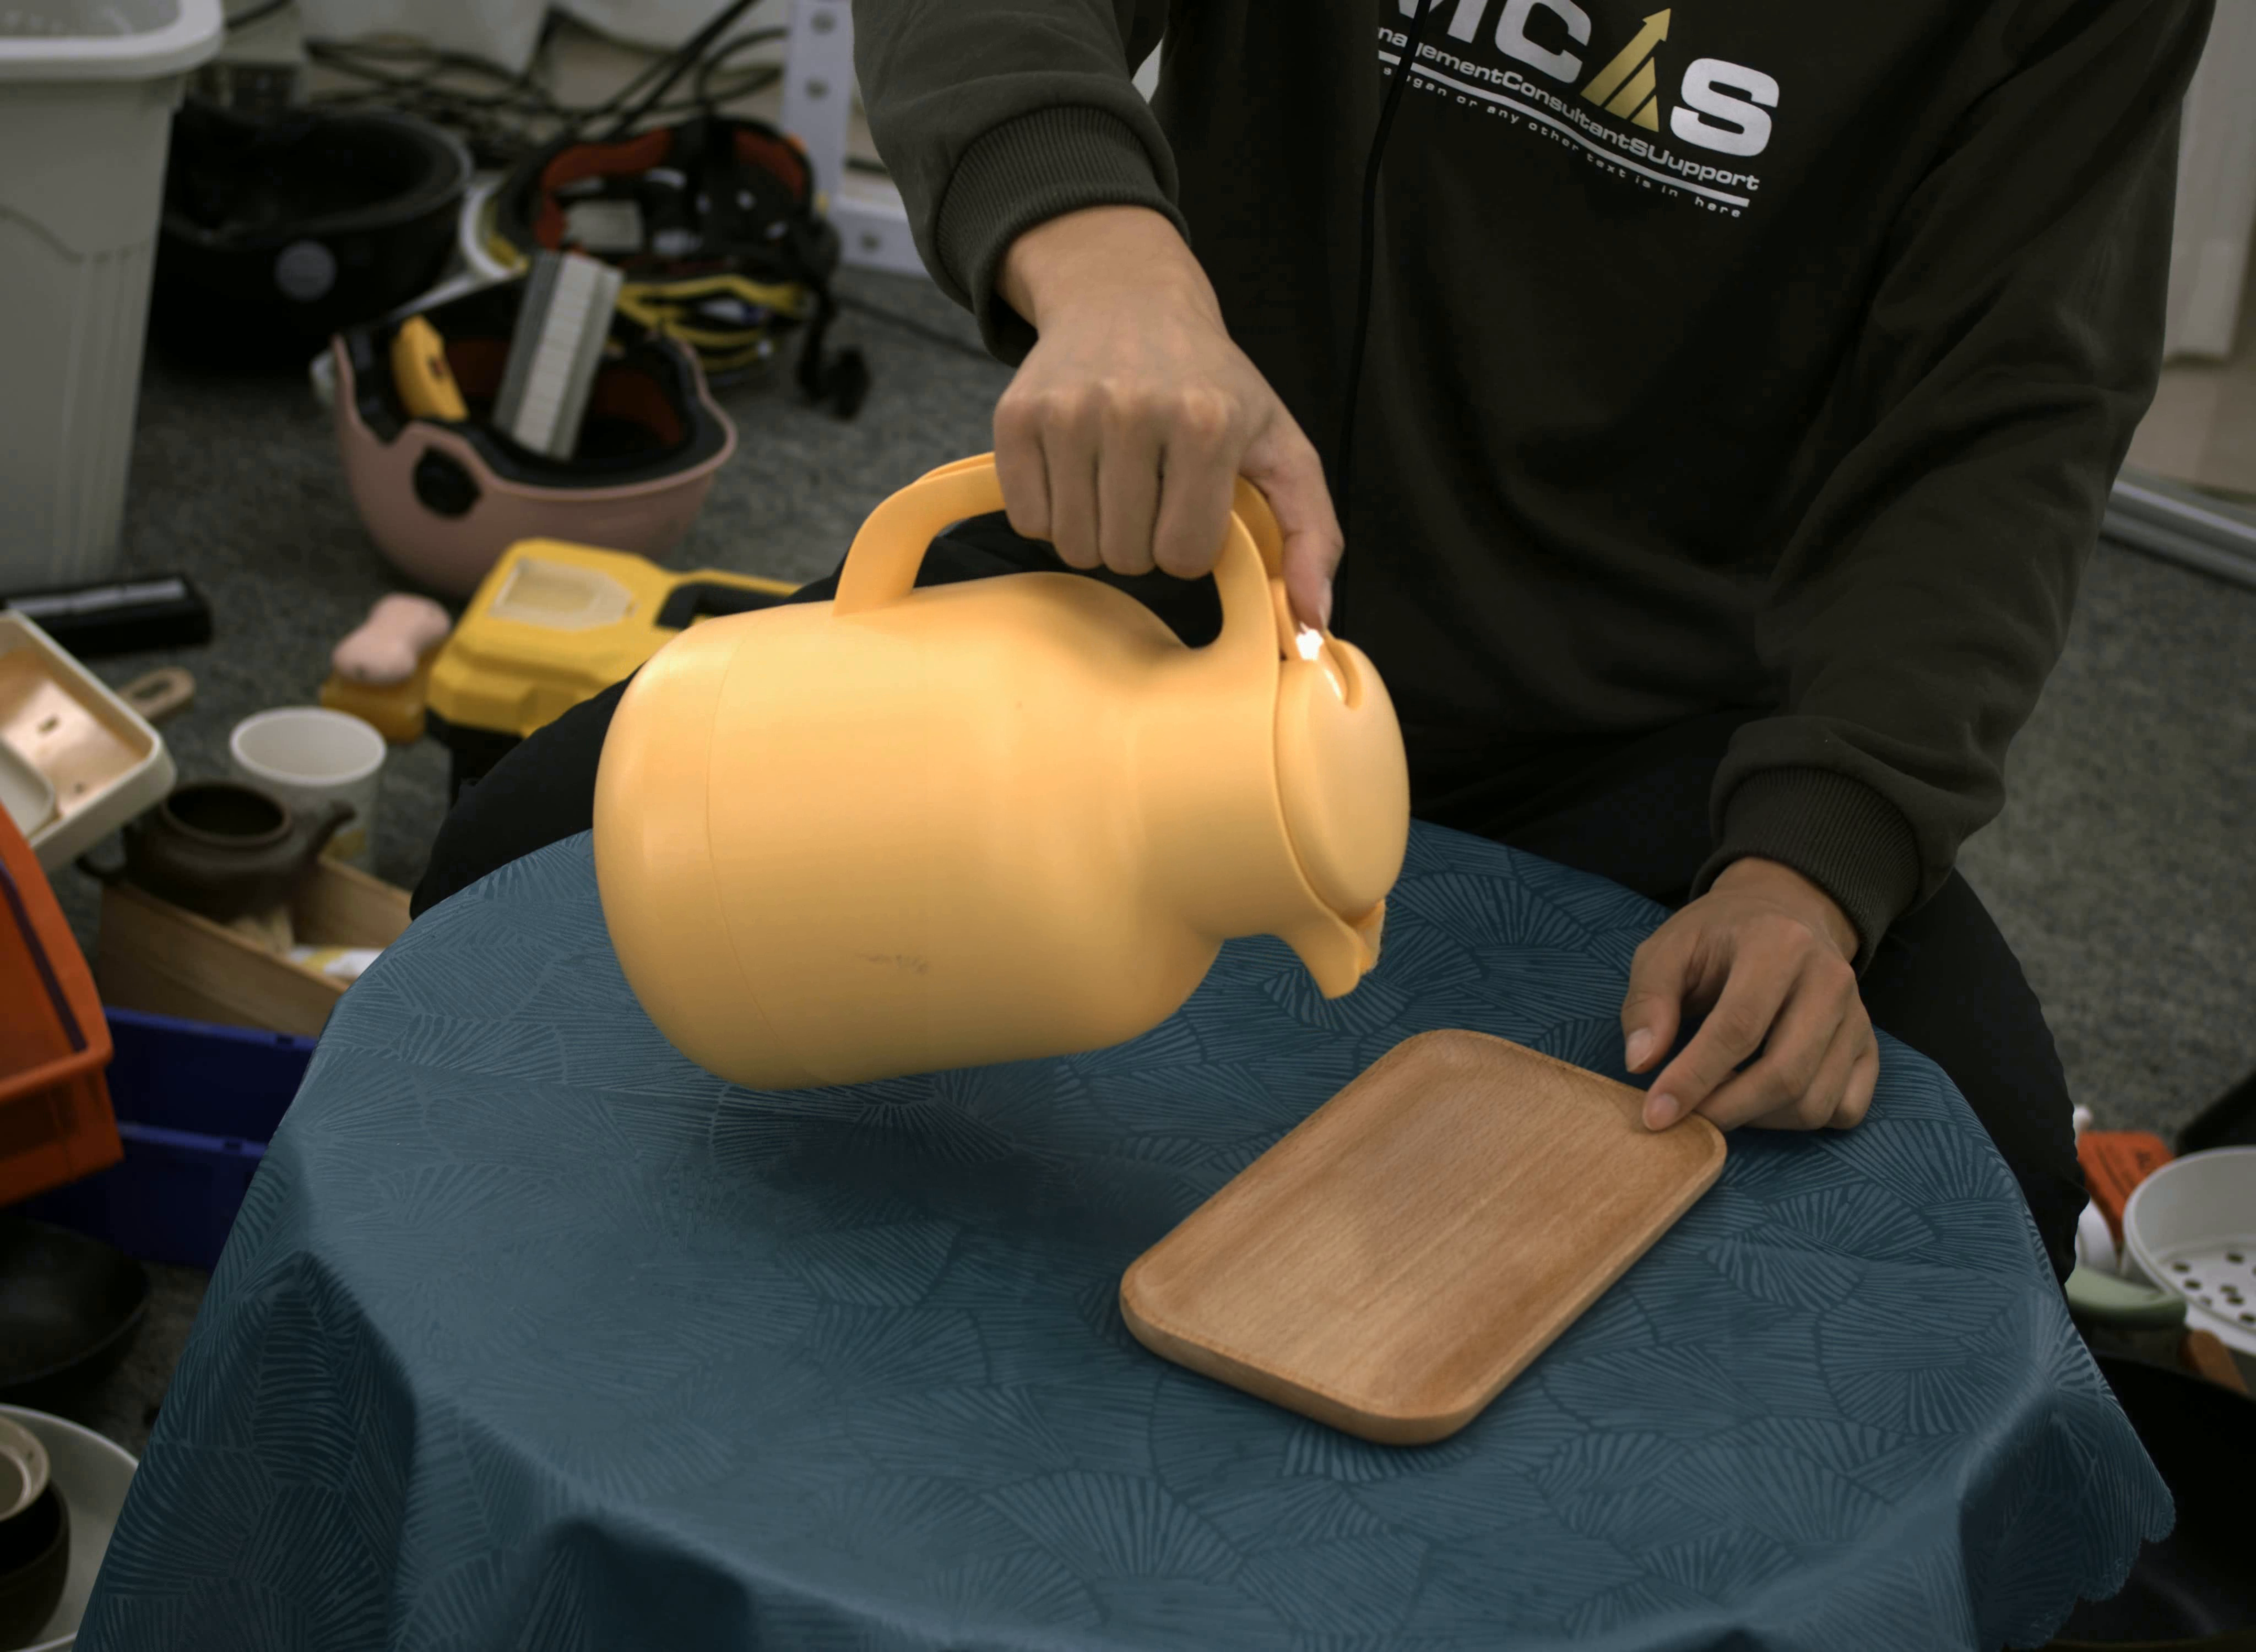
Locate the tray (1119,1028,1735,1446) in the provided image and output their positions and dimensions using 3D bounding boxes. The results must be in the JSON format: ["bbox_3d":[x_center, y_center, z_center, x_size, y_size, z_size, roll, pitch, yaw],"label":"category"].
[{"bbox_3d":[0.103,0.135,1.790,0.131,0.023,0.250,23,30,24],"label":"tray"}]

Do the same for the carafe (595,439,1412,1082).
[{"bbox_3d":[-0.040,-0.022,1.763,0.261,0.202,0.163,-6,12,23],"label":"carafe"}]
